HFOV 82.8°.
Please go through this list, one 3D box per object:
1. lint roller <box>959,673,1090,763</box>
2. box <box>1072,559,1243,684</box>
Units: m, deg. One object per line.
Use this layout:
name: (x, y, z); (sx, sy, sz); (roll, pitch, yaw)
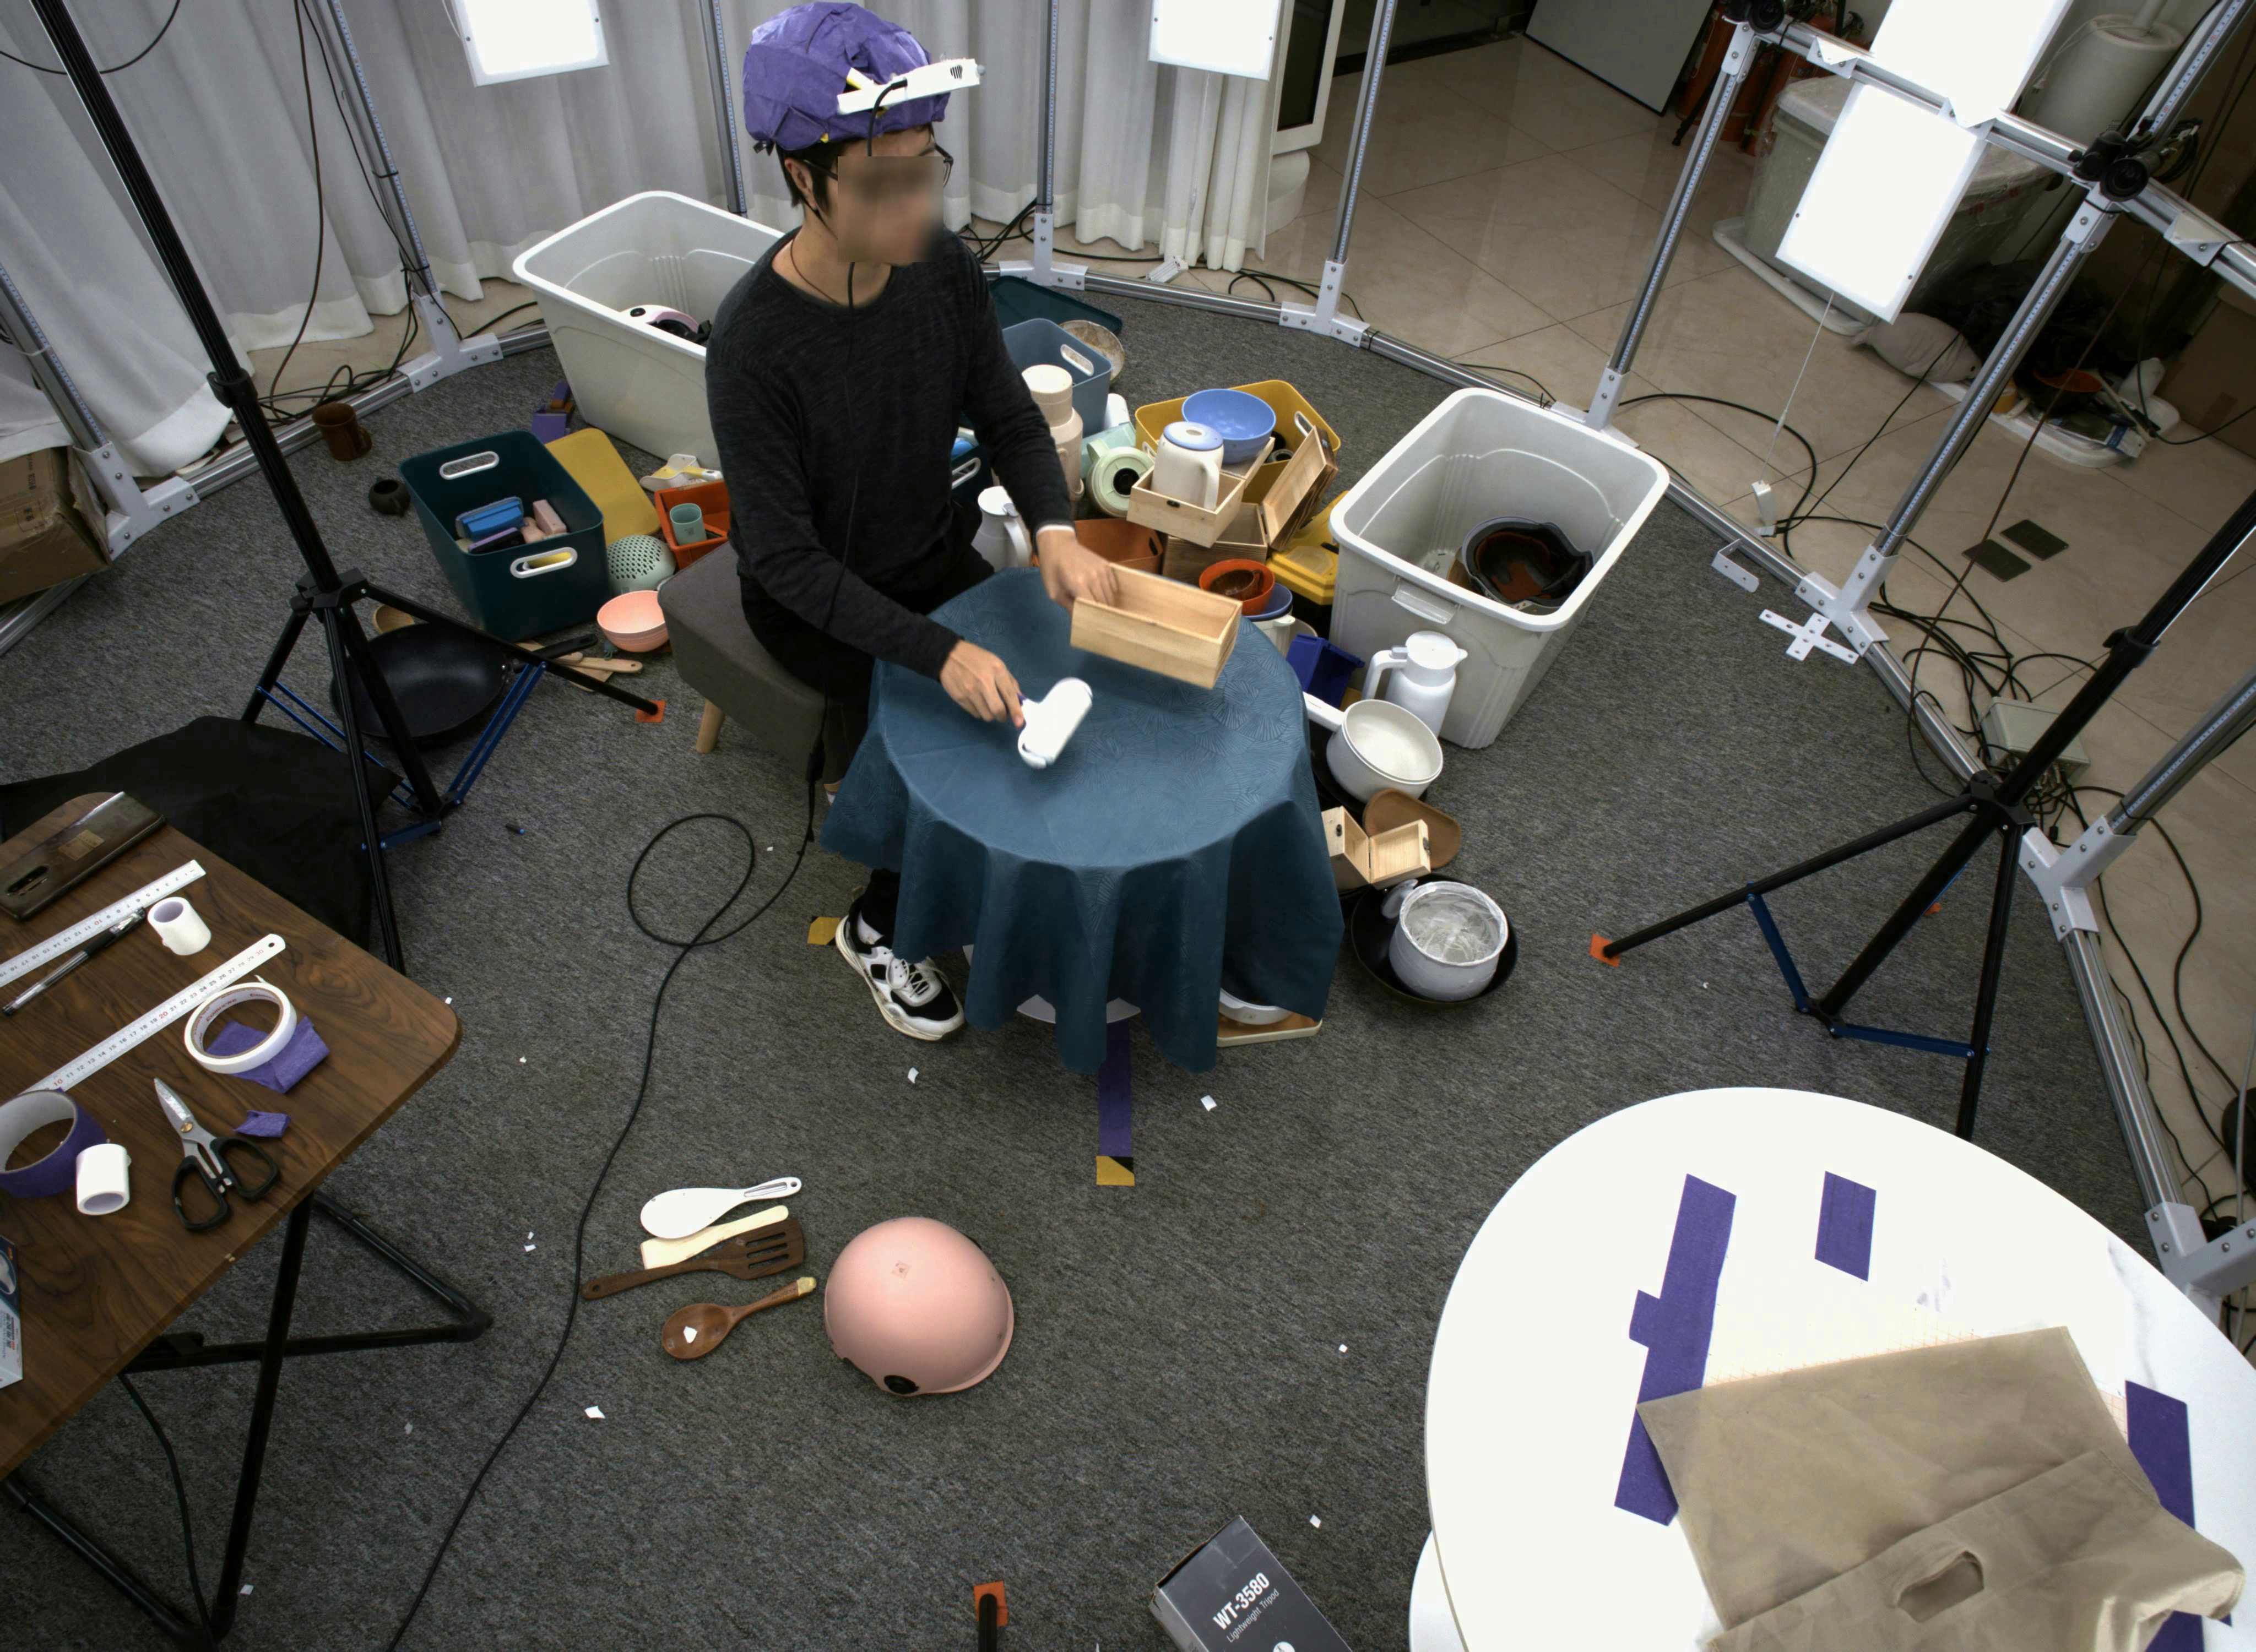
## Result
lint roller: (-0.150, -0.172, 1.721); (0.182, 0.049, 0.134); (28, 70, 15)
box: (0.040, -0.284, 1.781); (0.212, 0.078, 0.109); (18, 45, 13)
